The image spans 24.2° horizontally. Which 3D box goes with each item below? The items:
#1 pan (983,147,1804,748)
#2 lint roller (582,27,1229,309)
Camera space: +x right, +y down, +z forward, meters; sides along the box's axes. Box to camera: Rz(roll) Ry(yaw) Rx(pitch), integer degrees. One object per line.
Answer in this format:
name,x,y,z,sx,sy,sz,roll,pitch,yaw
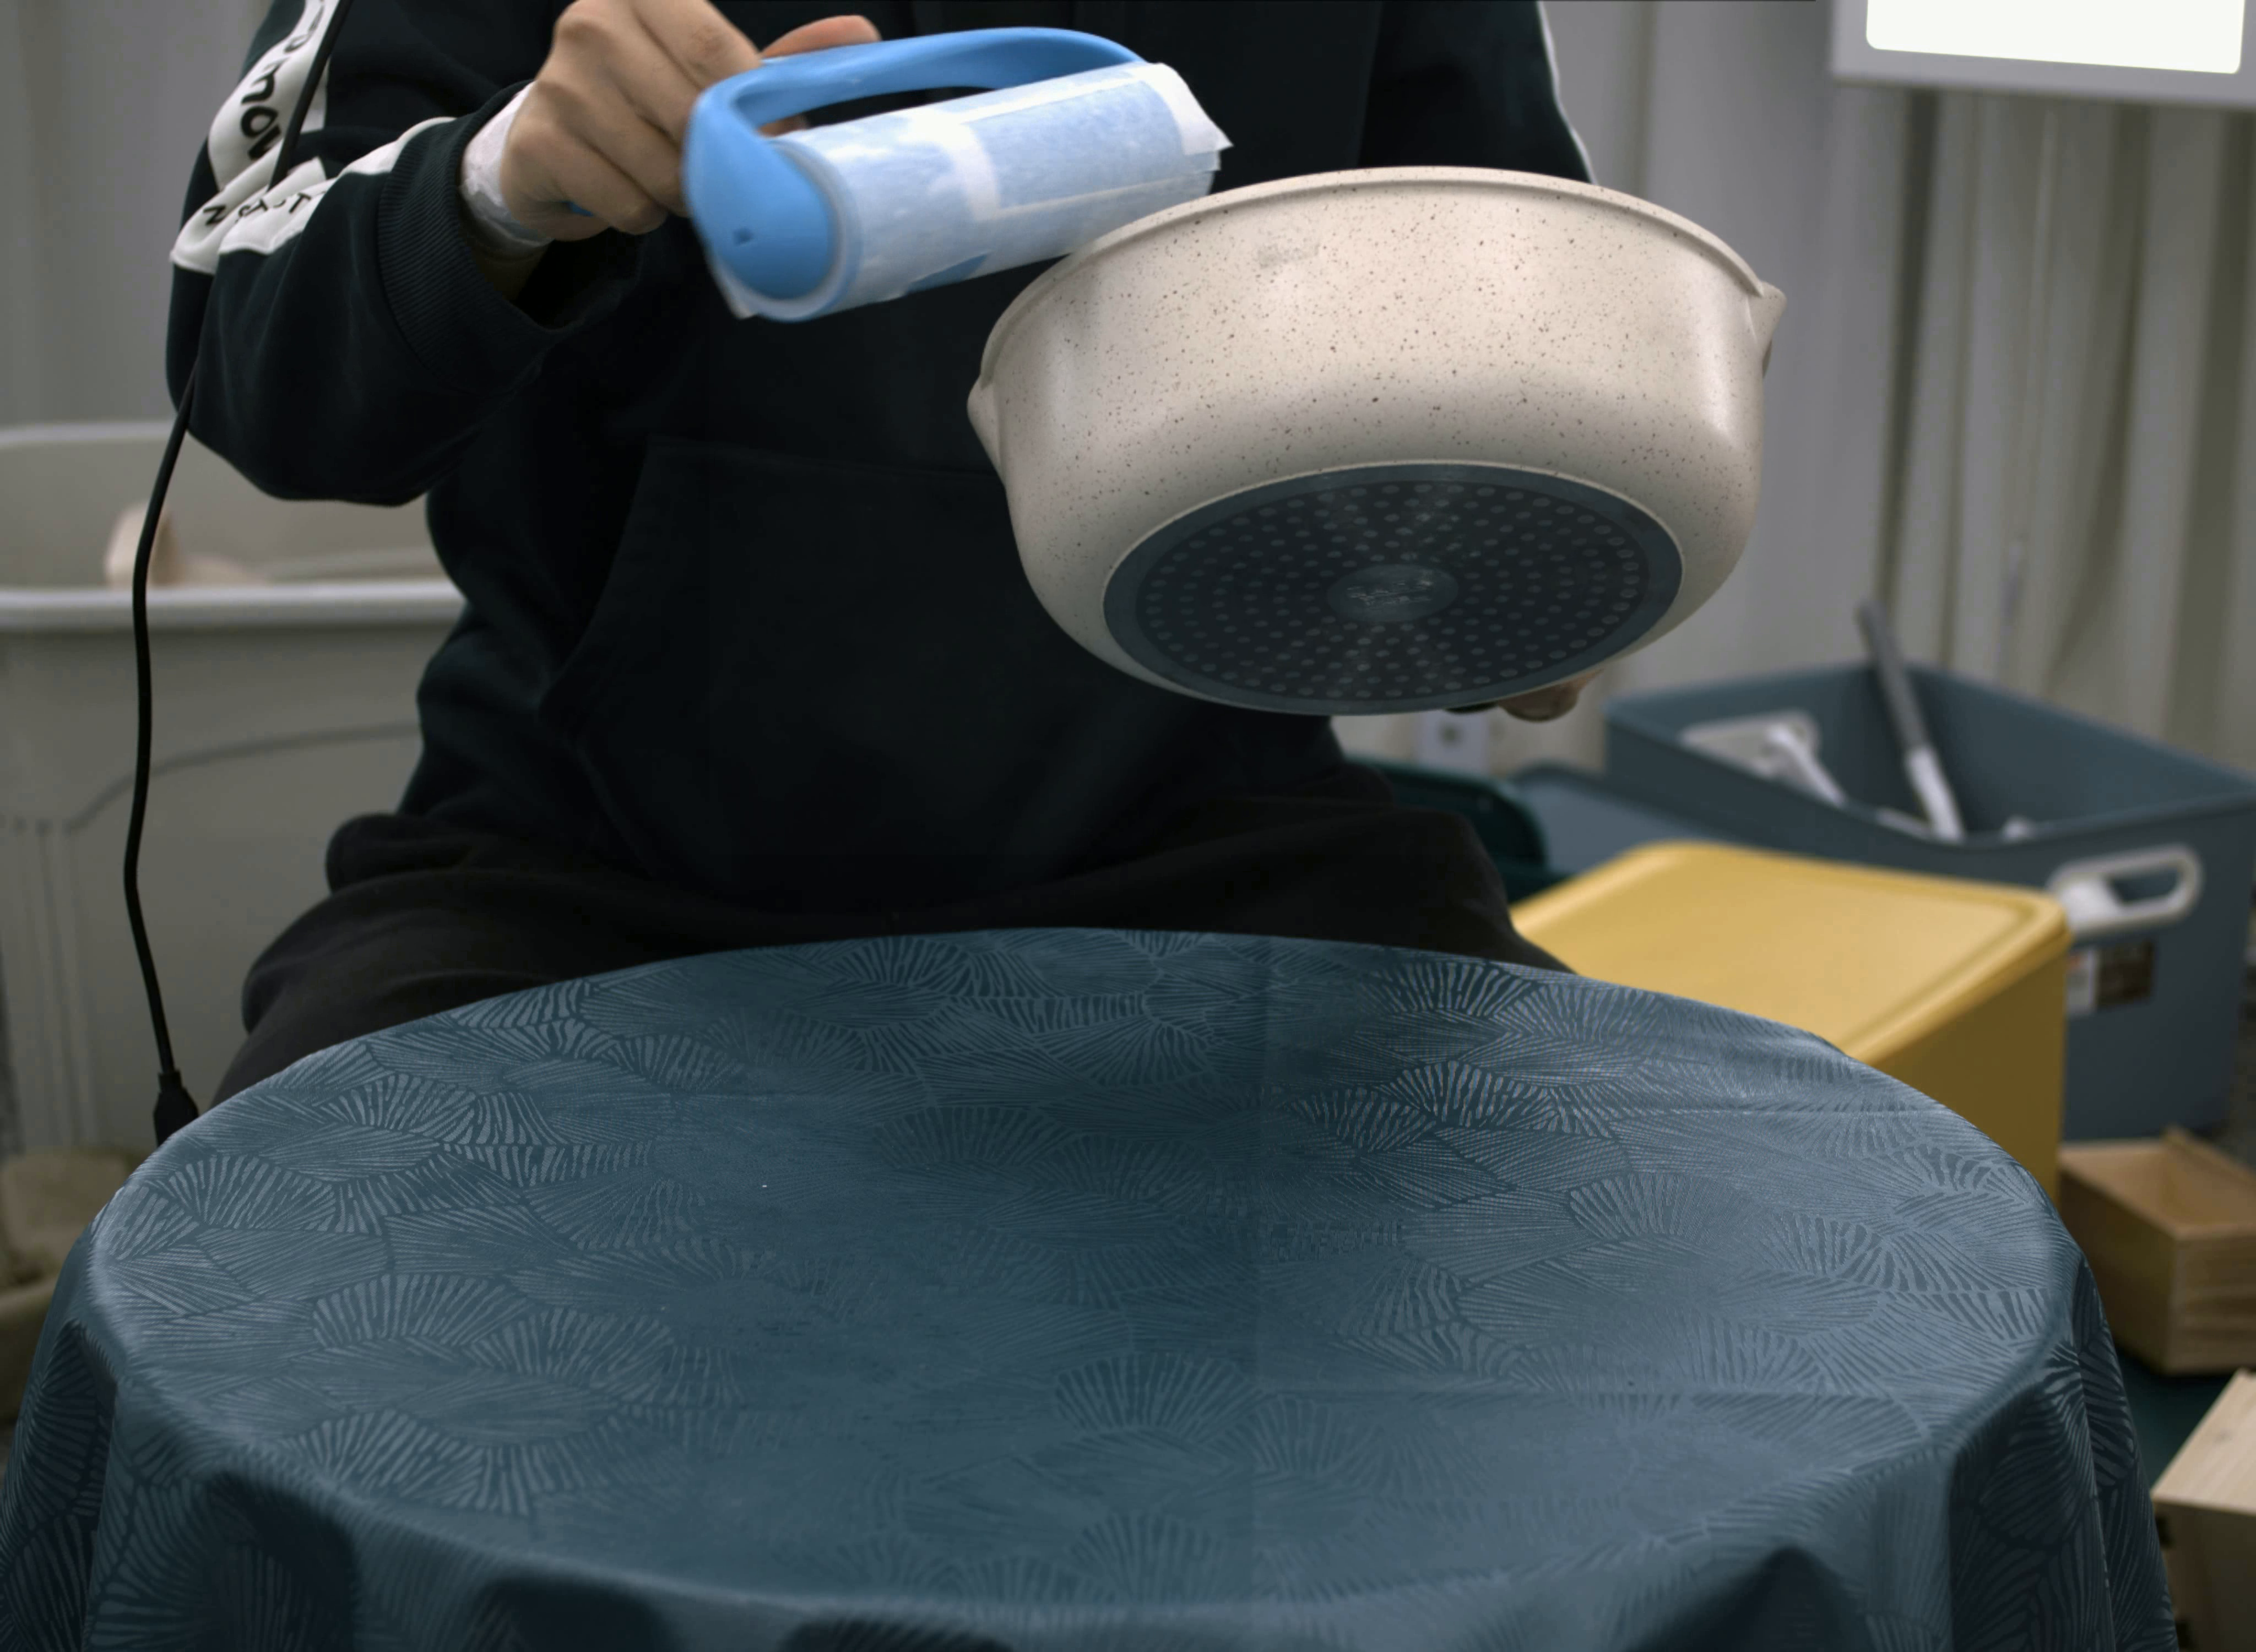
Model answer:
pan,0.105,-0.083,1.734,0.262,0.101,0.439,-9,-24,10
lint roller,-0.093,-0.205,1.598,0.178,0.068,0.229,11,19,27
